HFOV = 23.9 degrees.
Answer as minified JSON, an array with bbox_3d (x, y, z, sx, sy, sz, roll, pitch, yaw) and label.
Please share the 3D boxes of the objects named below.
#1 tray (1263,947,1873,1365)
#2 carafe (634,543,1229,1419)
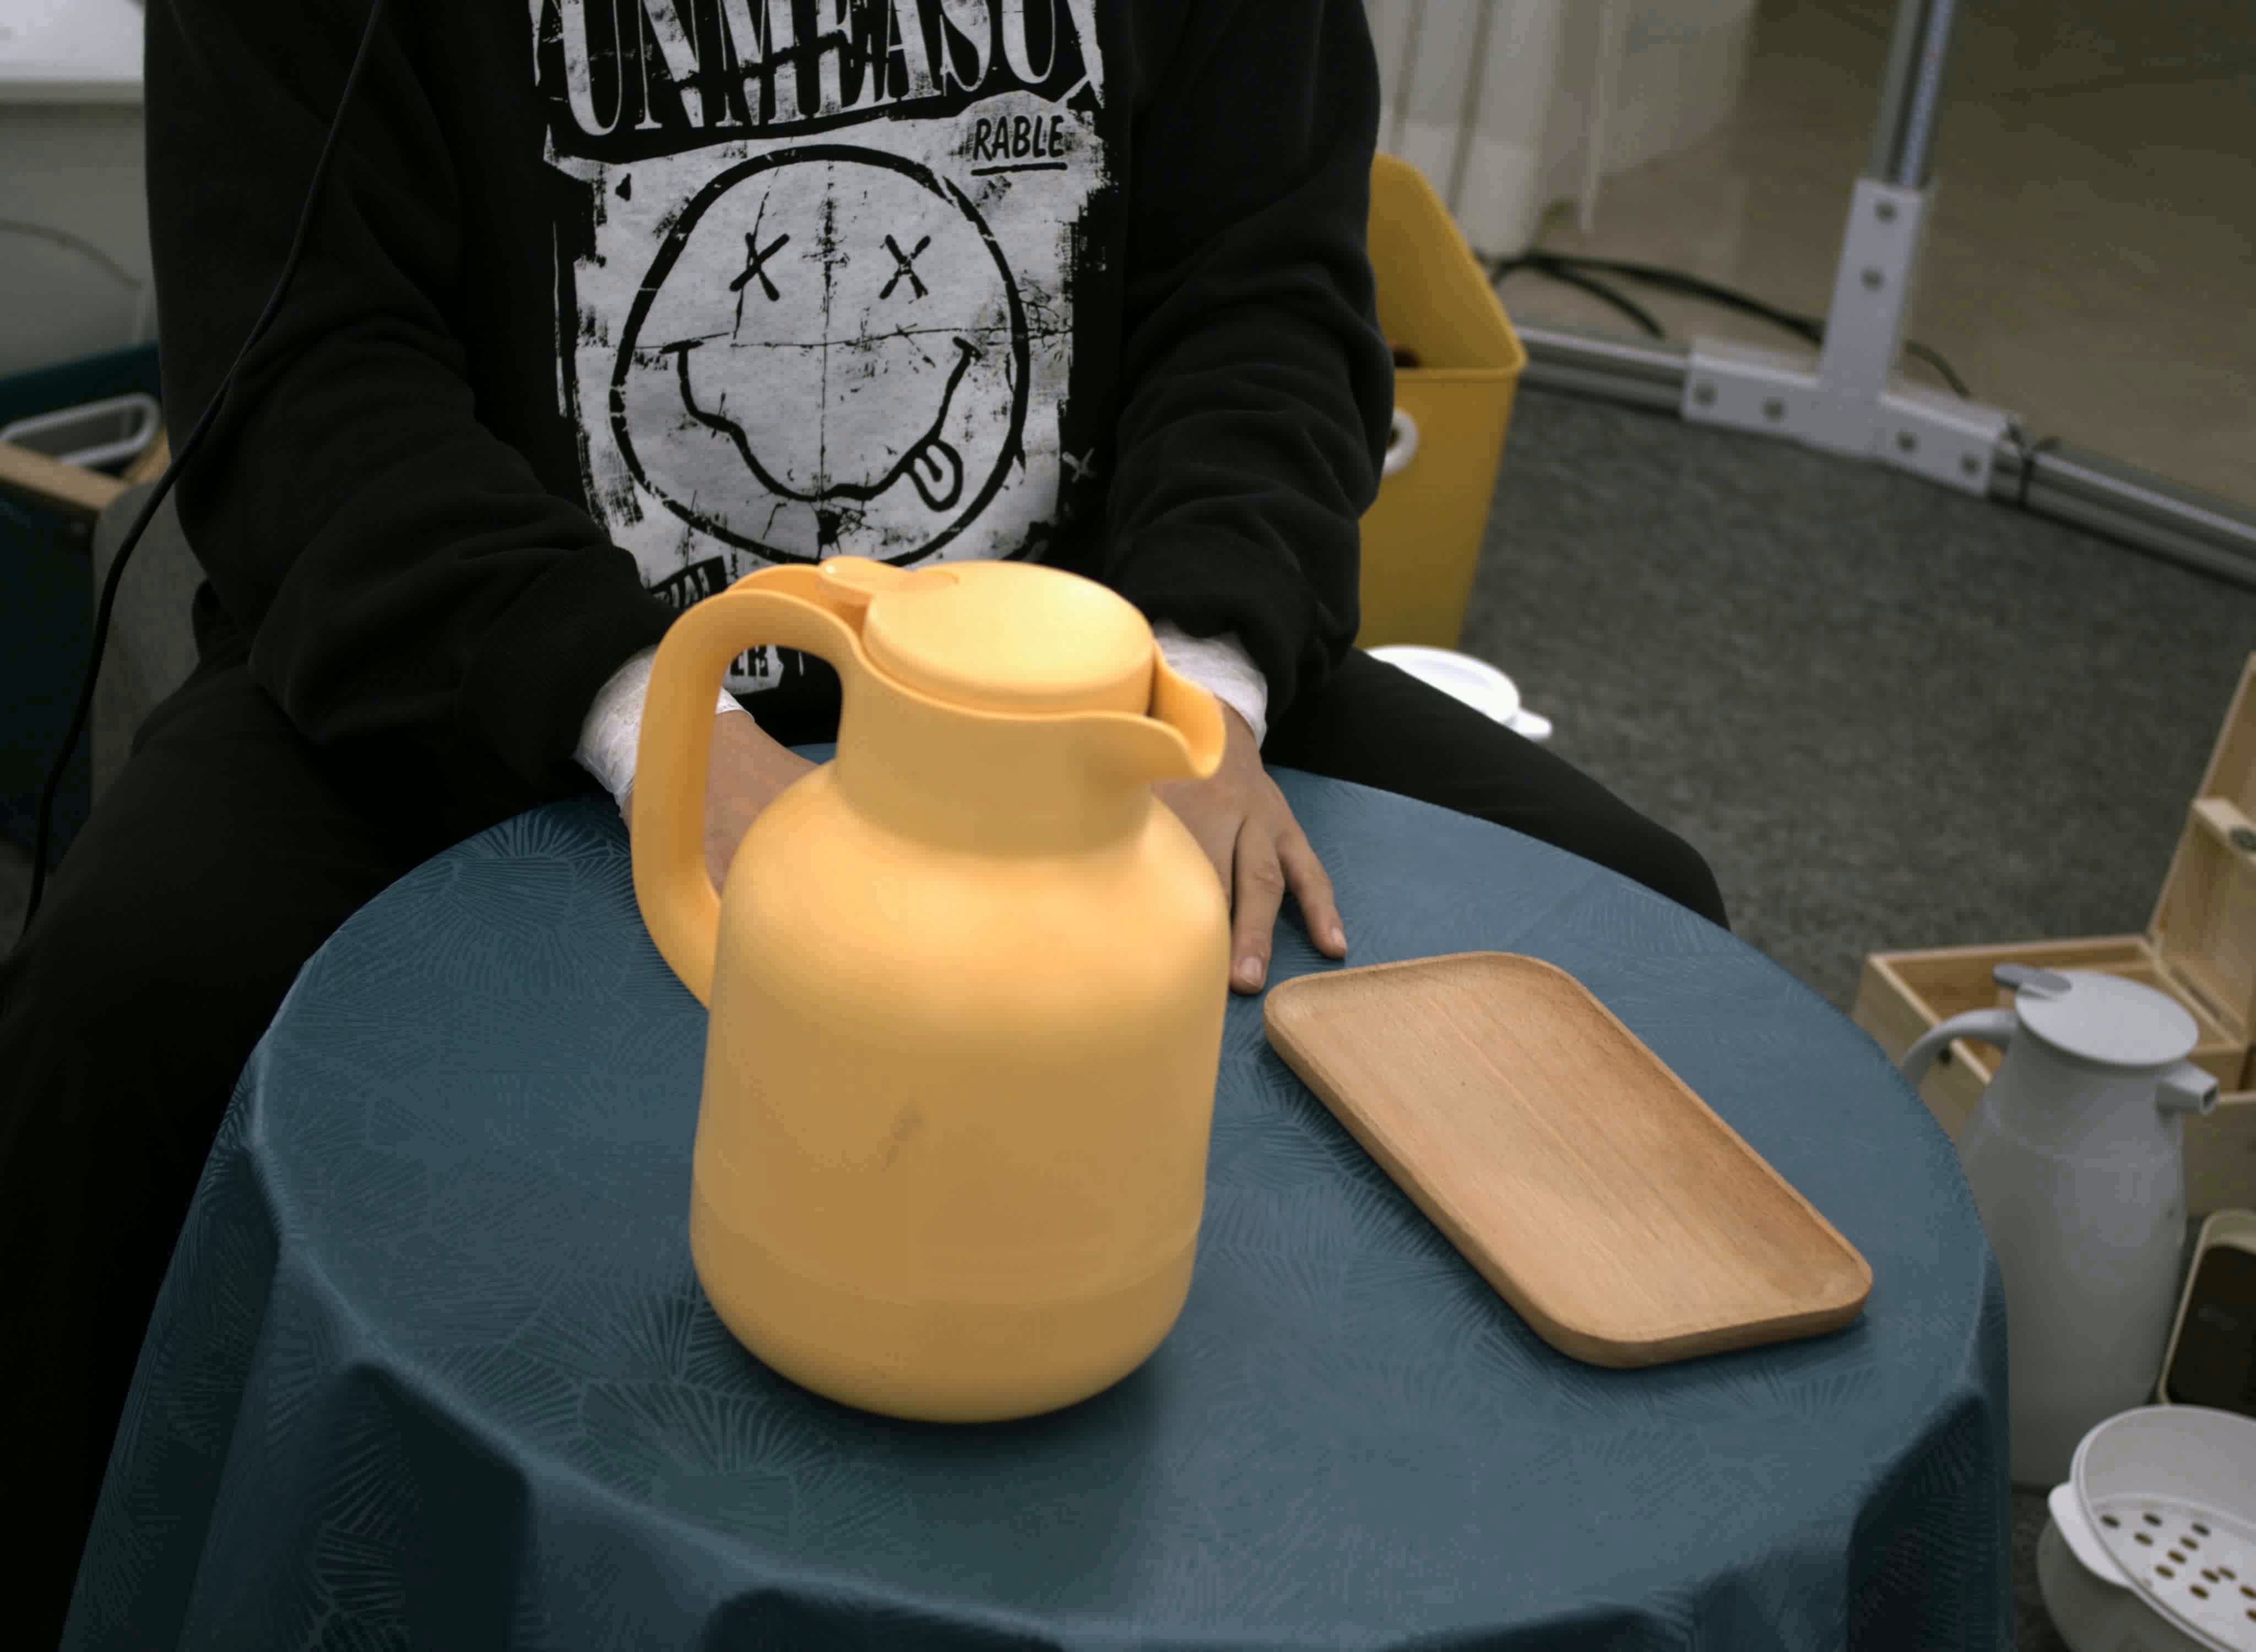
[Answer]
[{"bbox_3d":[0.148,0.111,1.843,0.129,0.023,0.253,-4,28,-25],"label":"tray"},{"bbox_3d":[-0.067,0.038,1.669,0.203,0.260,0.163,22,28,25],"label":"carafe"}]
